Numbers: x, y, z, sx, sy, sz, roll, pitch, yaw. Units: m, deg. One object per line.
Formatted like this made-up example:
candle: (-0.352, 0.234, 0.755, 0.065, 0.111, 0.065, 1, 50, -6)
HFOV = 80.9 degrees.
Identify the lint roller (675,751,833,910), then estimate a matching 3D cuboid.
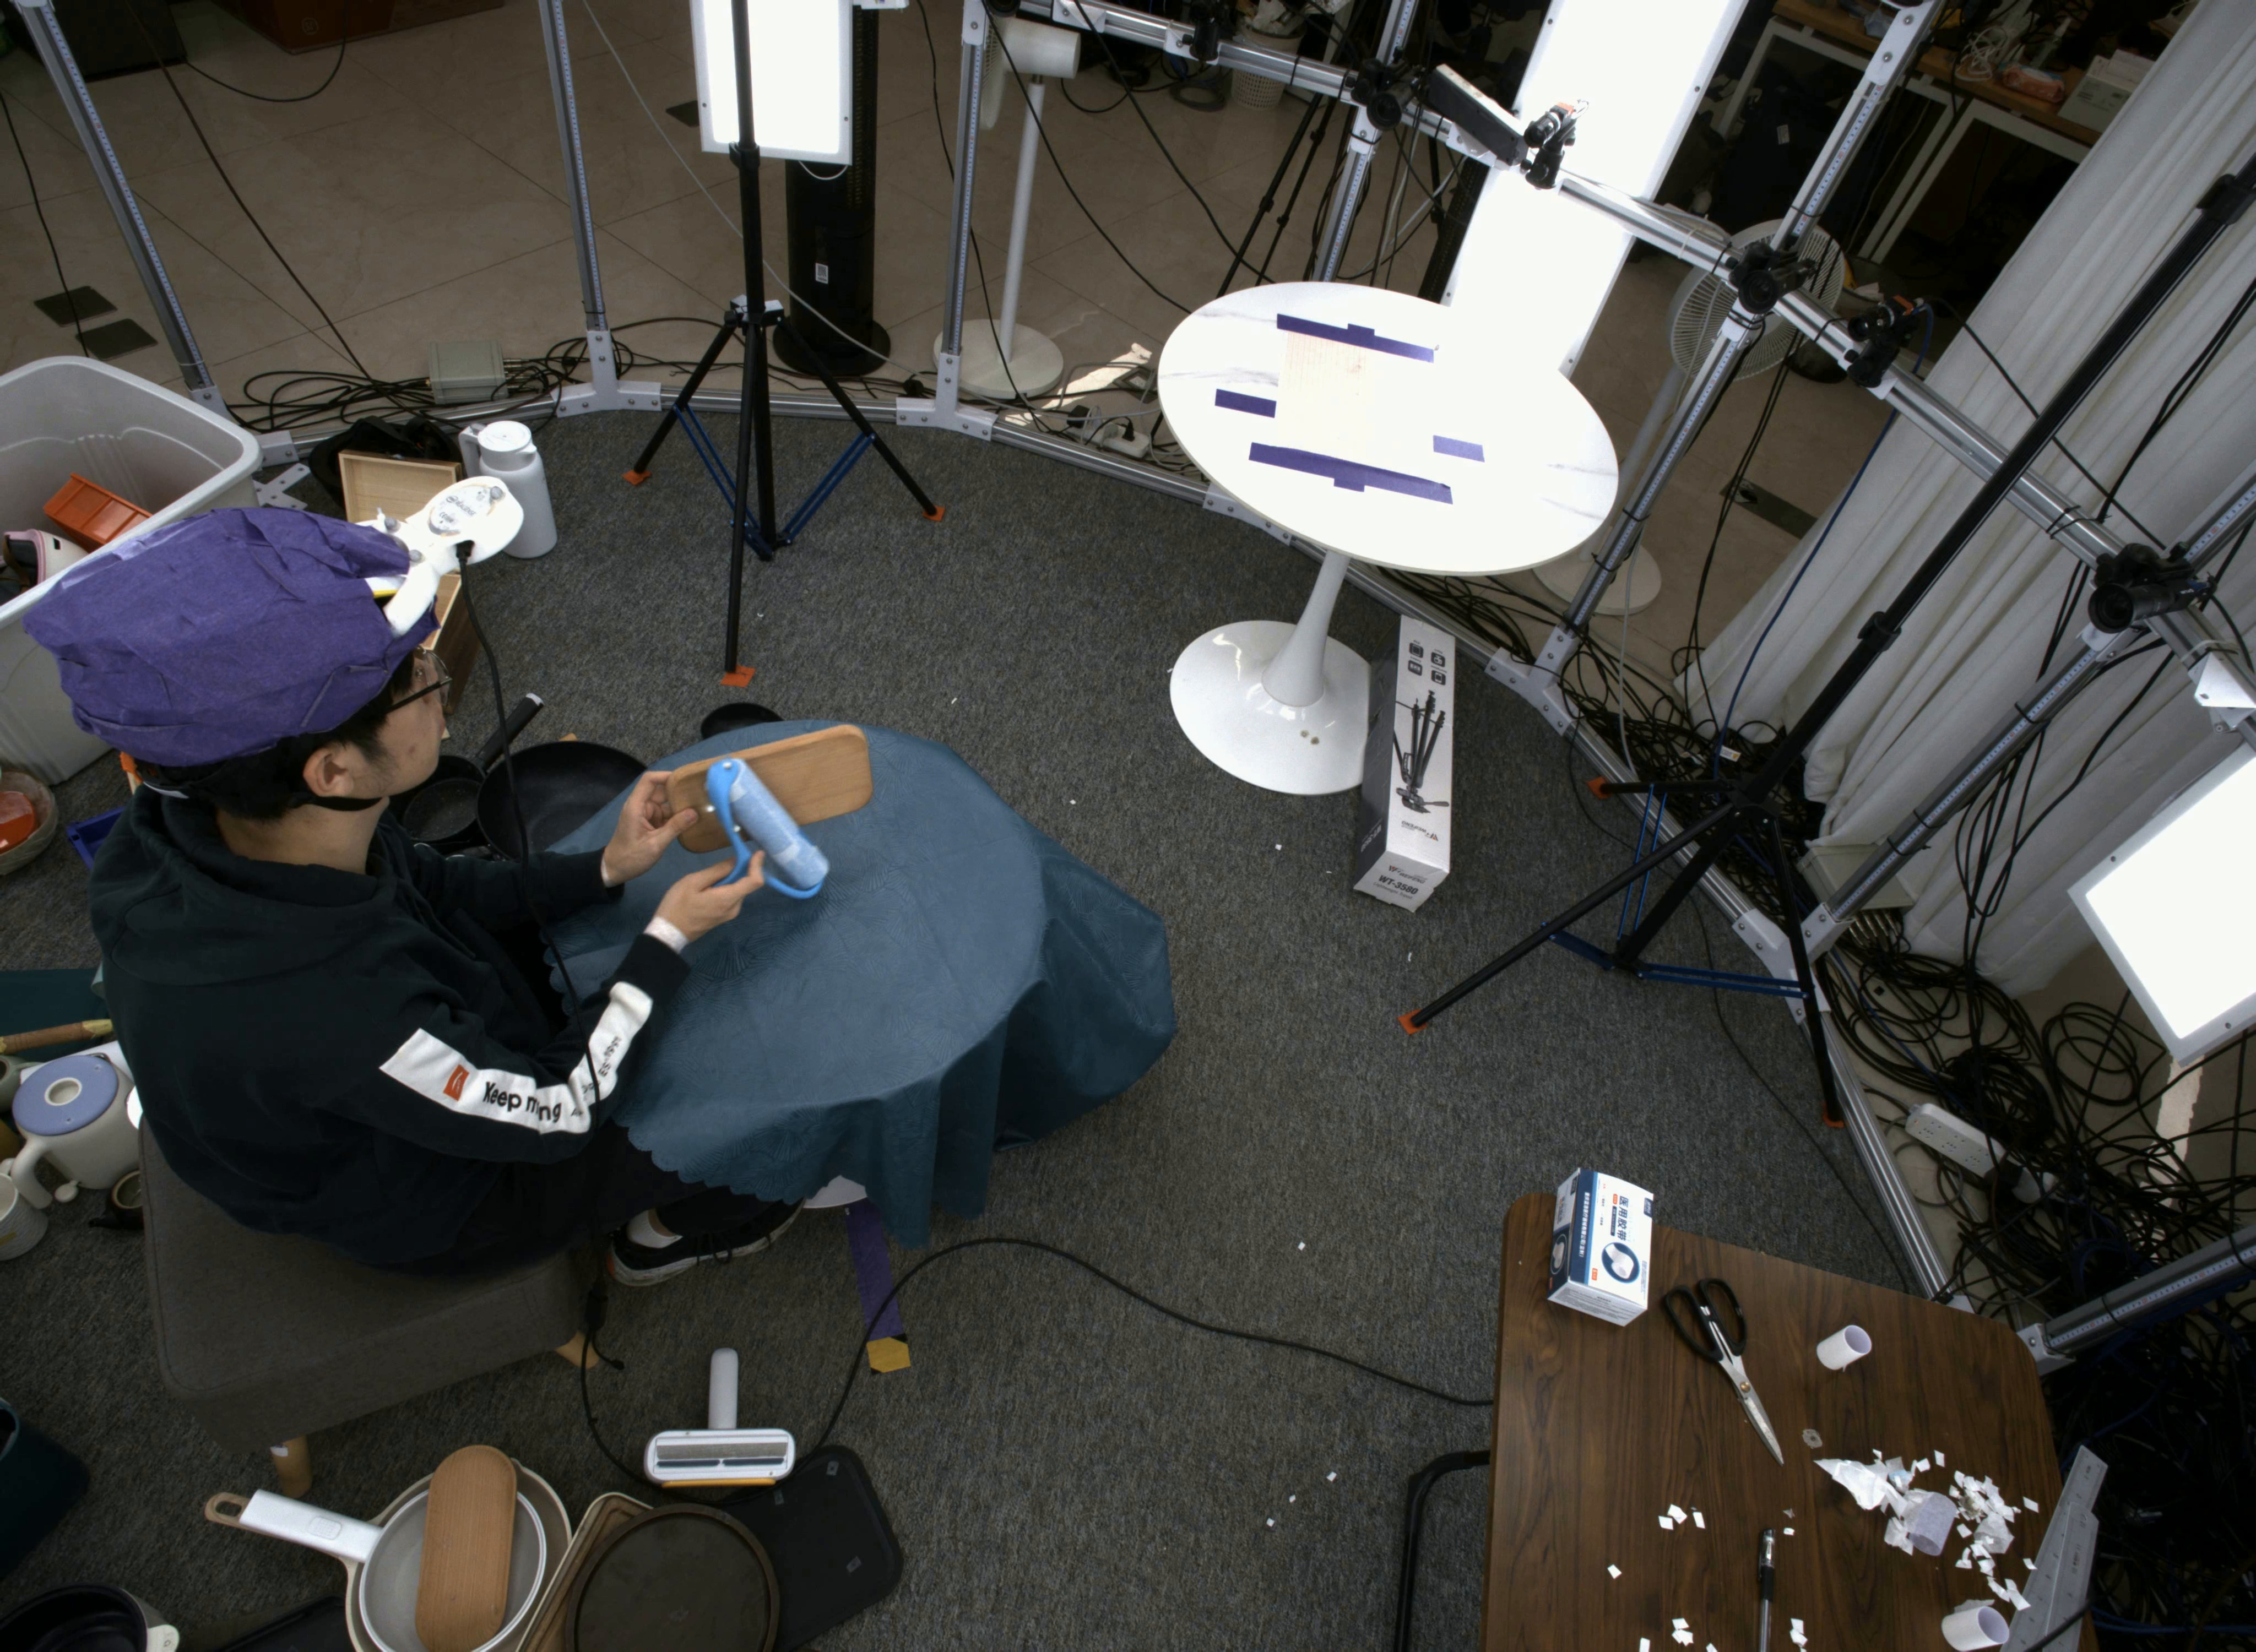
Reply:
lint roller: (-0.467, 0.038, 1.559, 0.065, 0.238, 0.180, 25, 69, 37)

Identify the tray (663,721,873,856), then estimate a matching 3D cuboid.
tray: (-0.438, -0.046, 1.592, 0.251, 0.135, 0.022, -19, 38, -23)
